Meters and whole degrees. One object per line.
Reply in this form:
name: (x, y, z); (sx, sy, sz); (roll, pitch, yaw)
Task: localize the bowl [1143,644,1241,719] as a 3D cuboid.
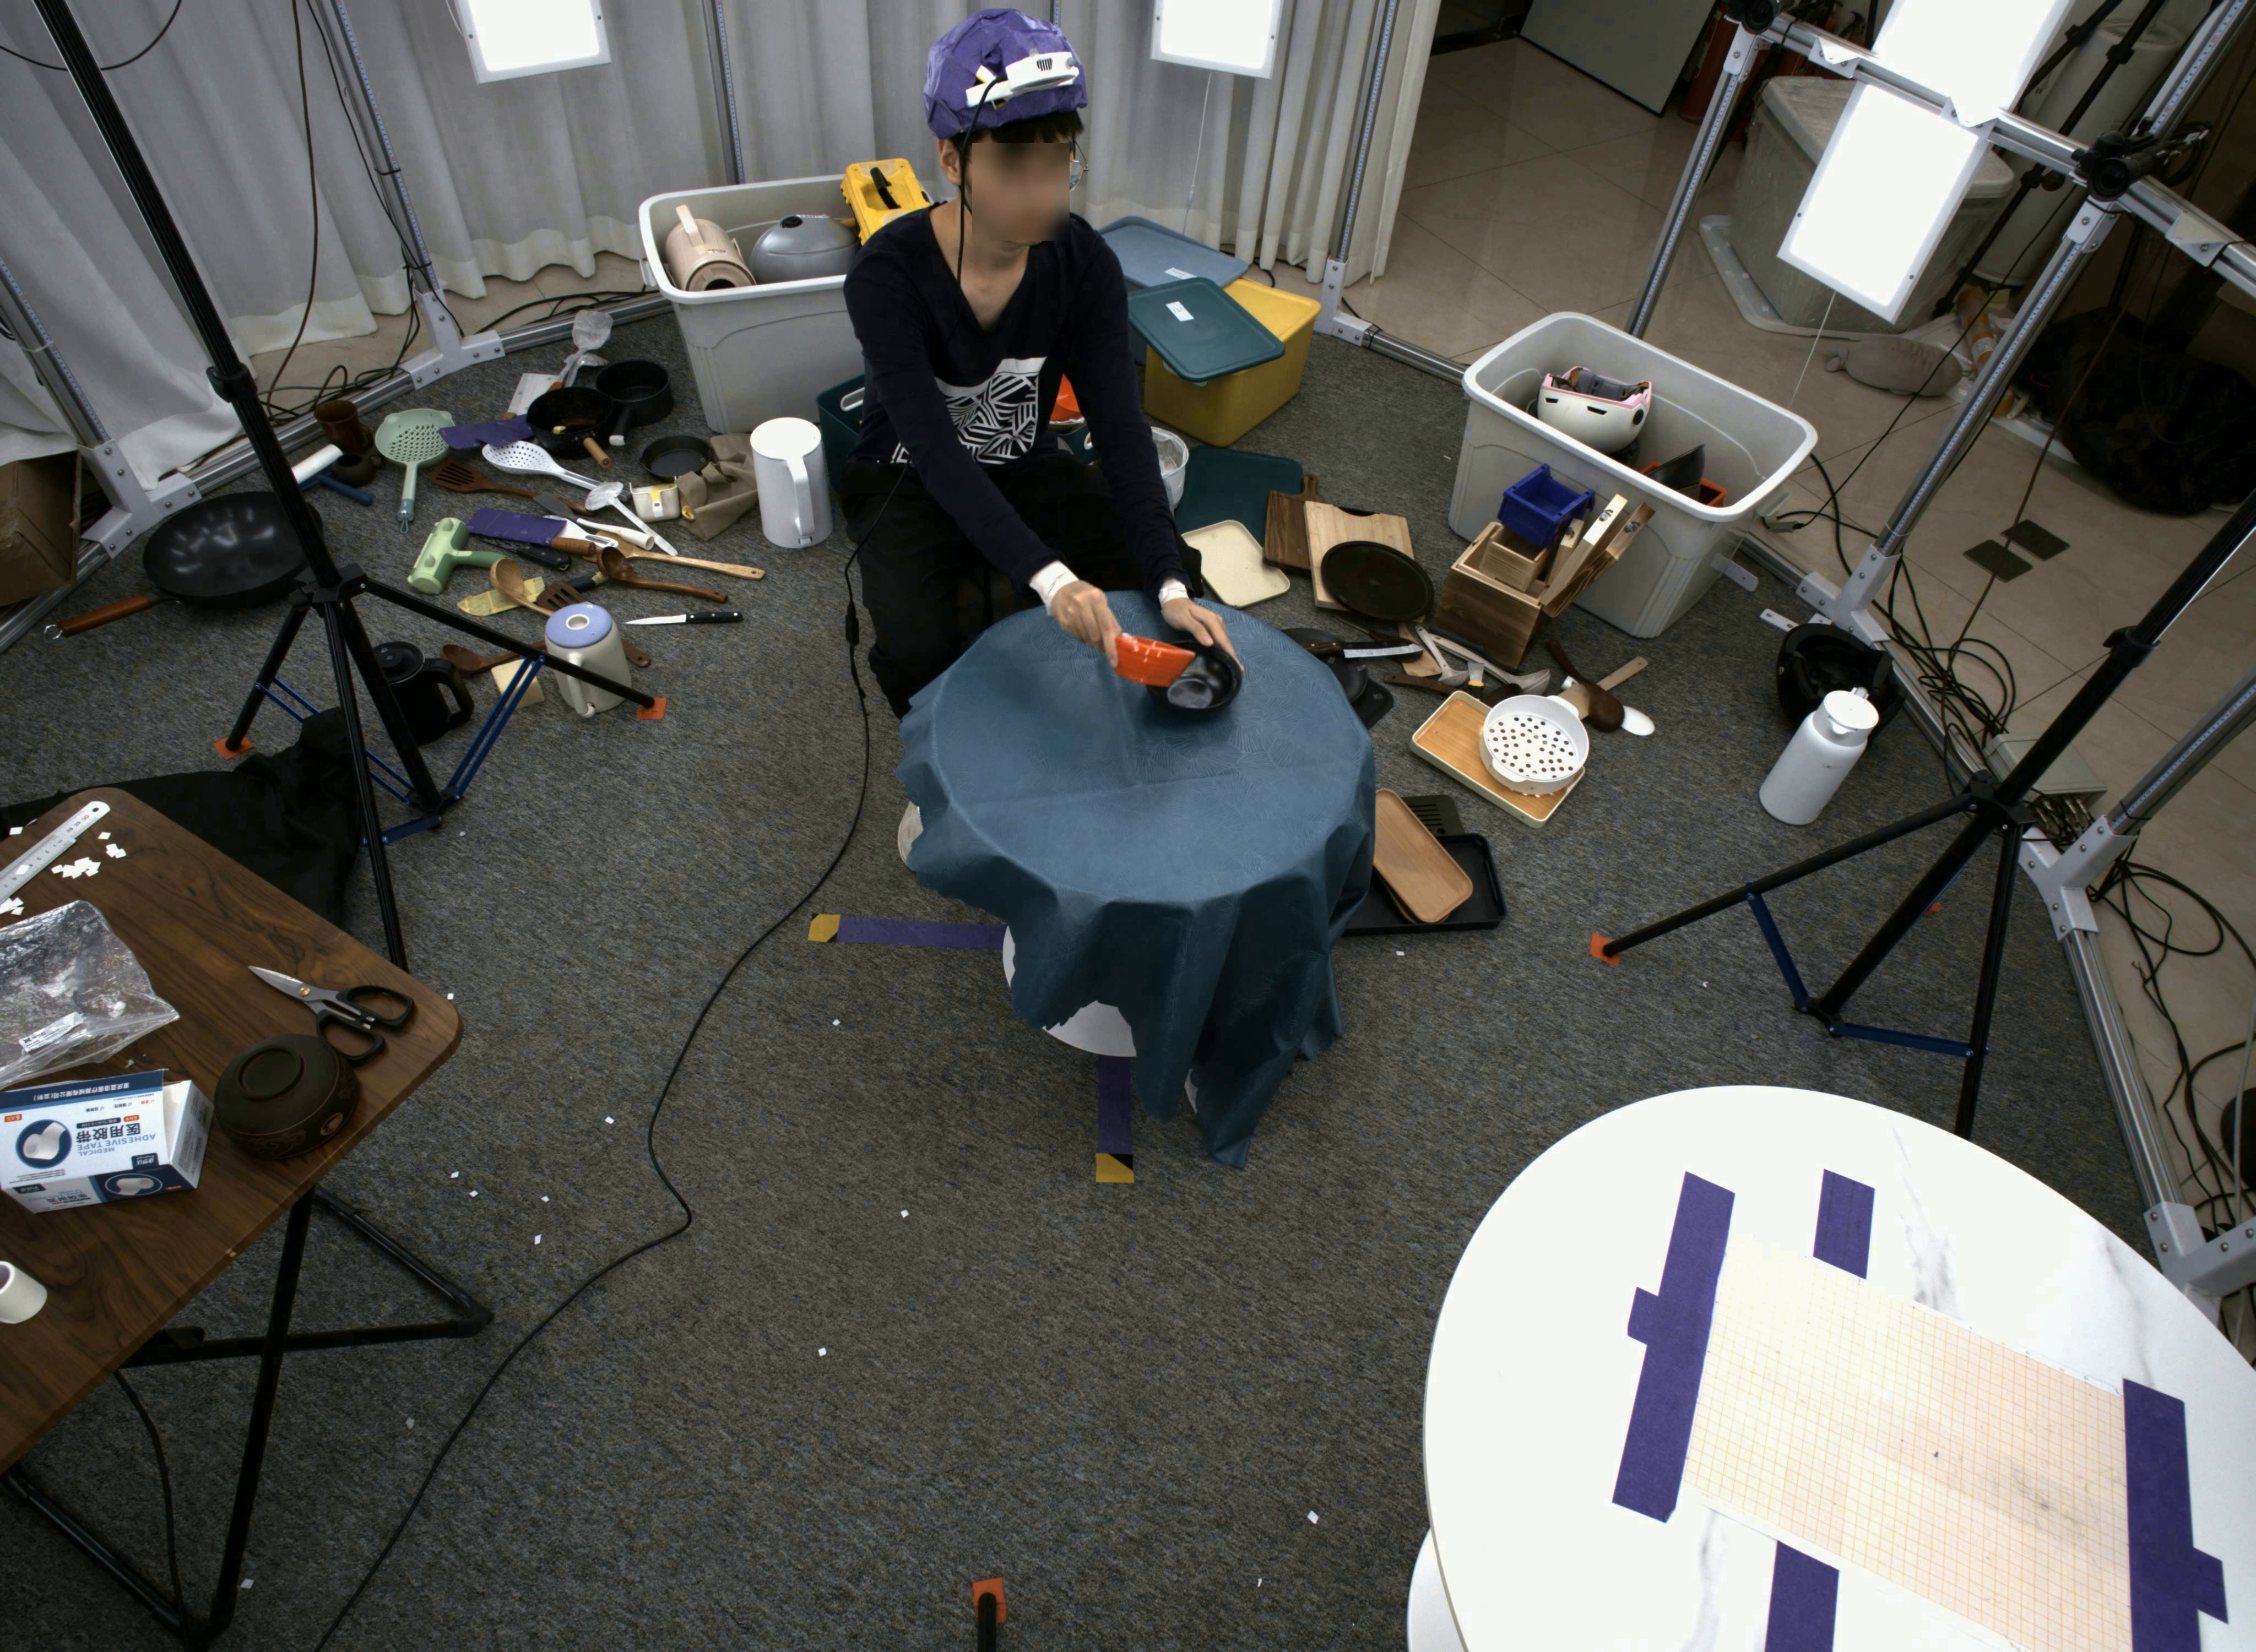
bowl: (0.089, -0.196, 1.816); (0.140, 0.048, 0.143); (0, 45, -1)

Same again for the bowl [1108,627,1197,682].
bowl: (0.028, -0.225, 1.699); (0.119, 0.050, 0.120); (11, 19, -4)
